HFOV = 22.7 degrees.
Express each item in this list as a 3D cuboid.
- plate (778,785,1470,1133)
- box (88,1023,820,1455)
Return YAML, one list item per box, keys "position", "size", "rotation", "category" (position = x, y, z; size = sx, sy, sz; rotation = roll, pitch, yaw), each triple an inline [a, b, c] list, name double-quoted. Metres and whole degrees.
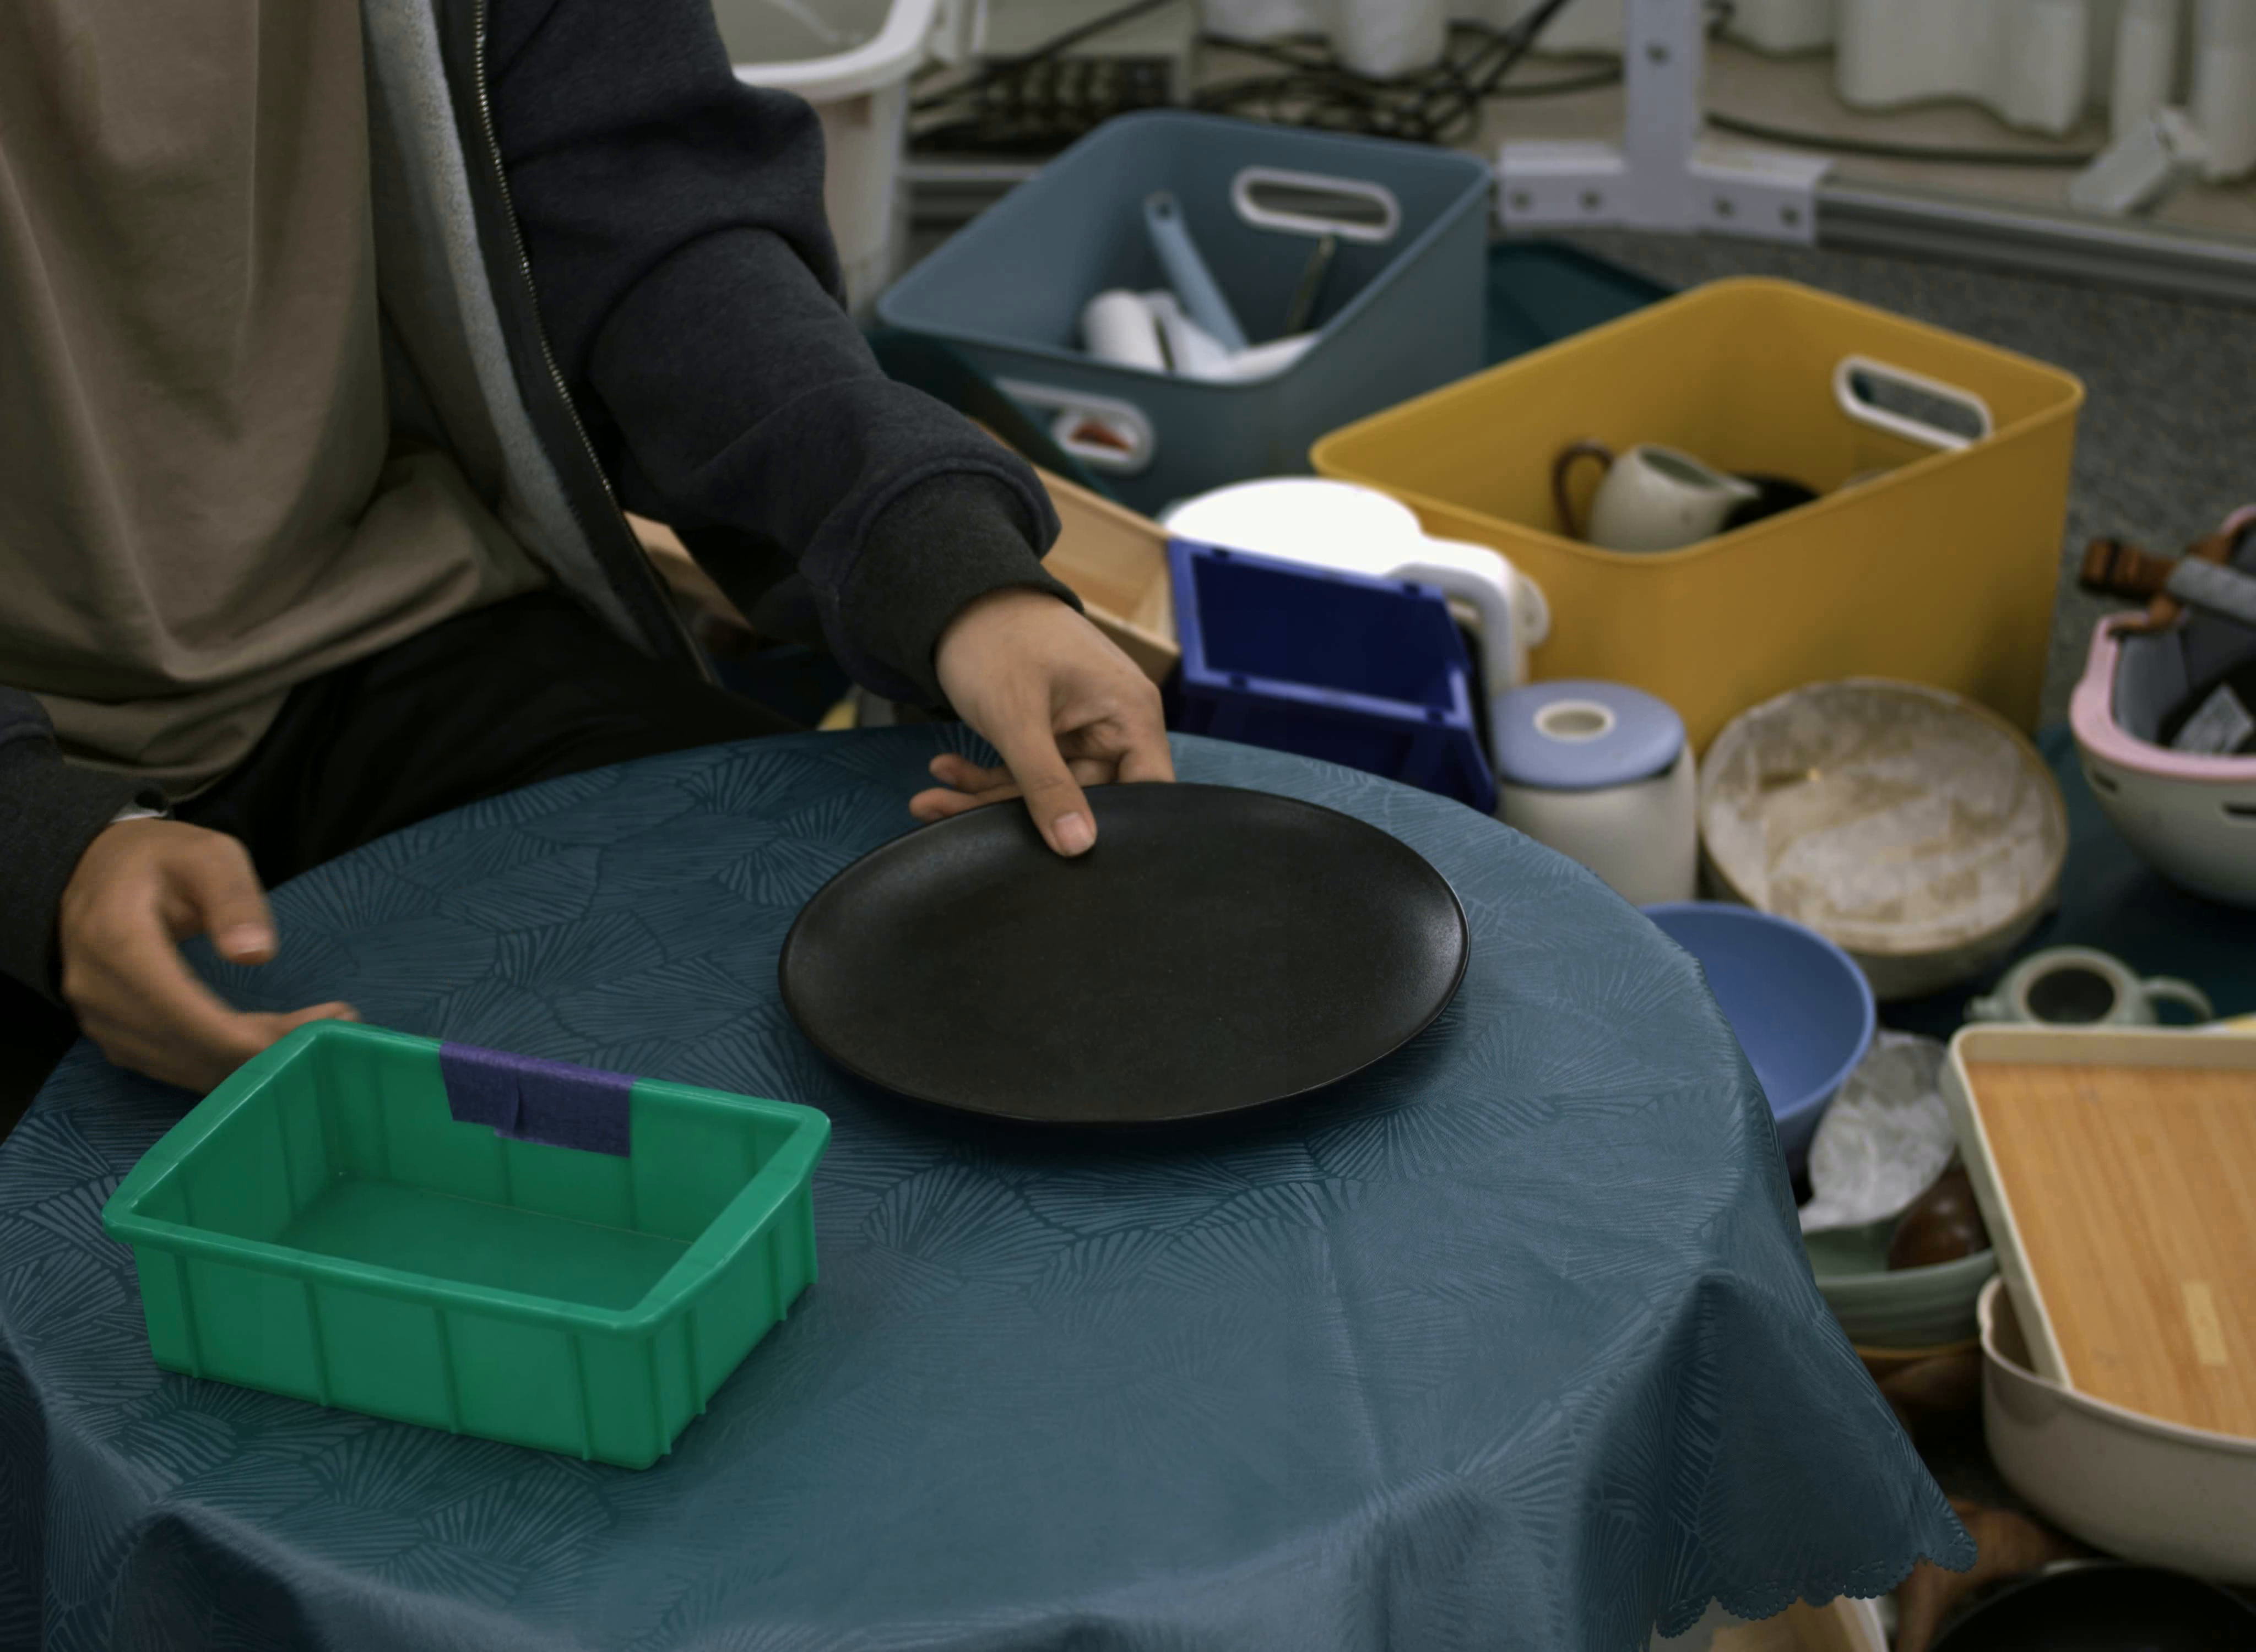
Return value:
- position: [-0.001, 0.051, 1.974]
  size: [0.243, 0.023, 0.248]
  rotation: [-2, 28, 2]
  category: "plate"
- position: [-0.211, 0.133, 1.793]
  size: [0.209, 0.065, 0.141]
  rotation: [6, 27, 22]
  category: "box"
